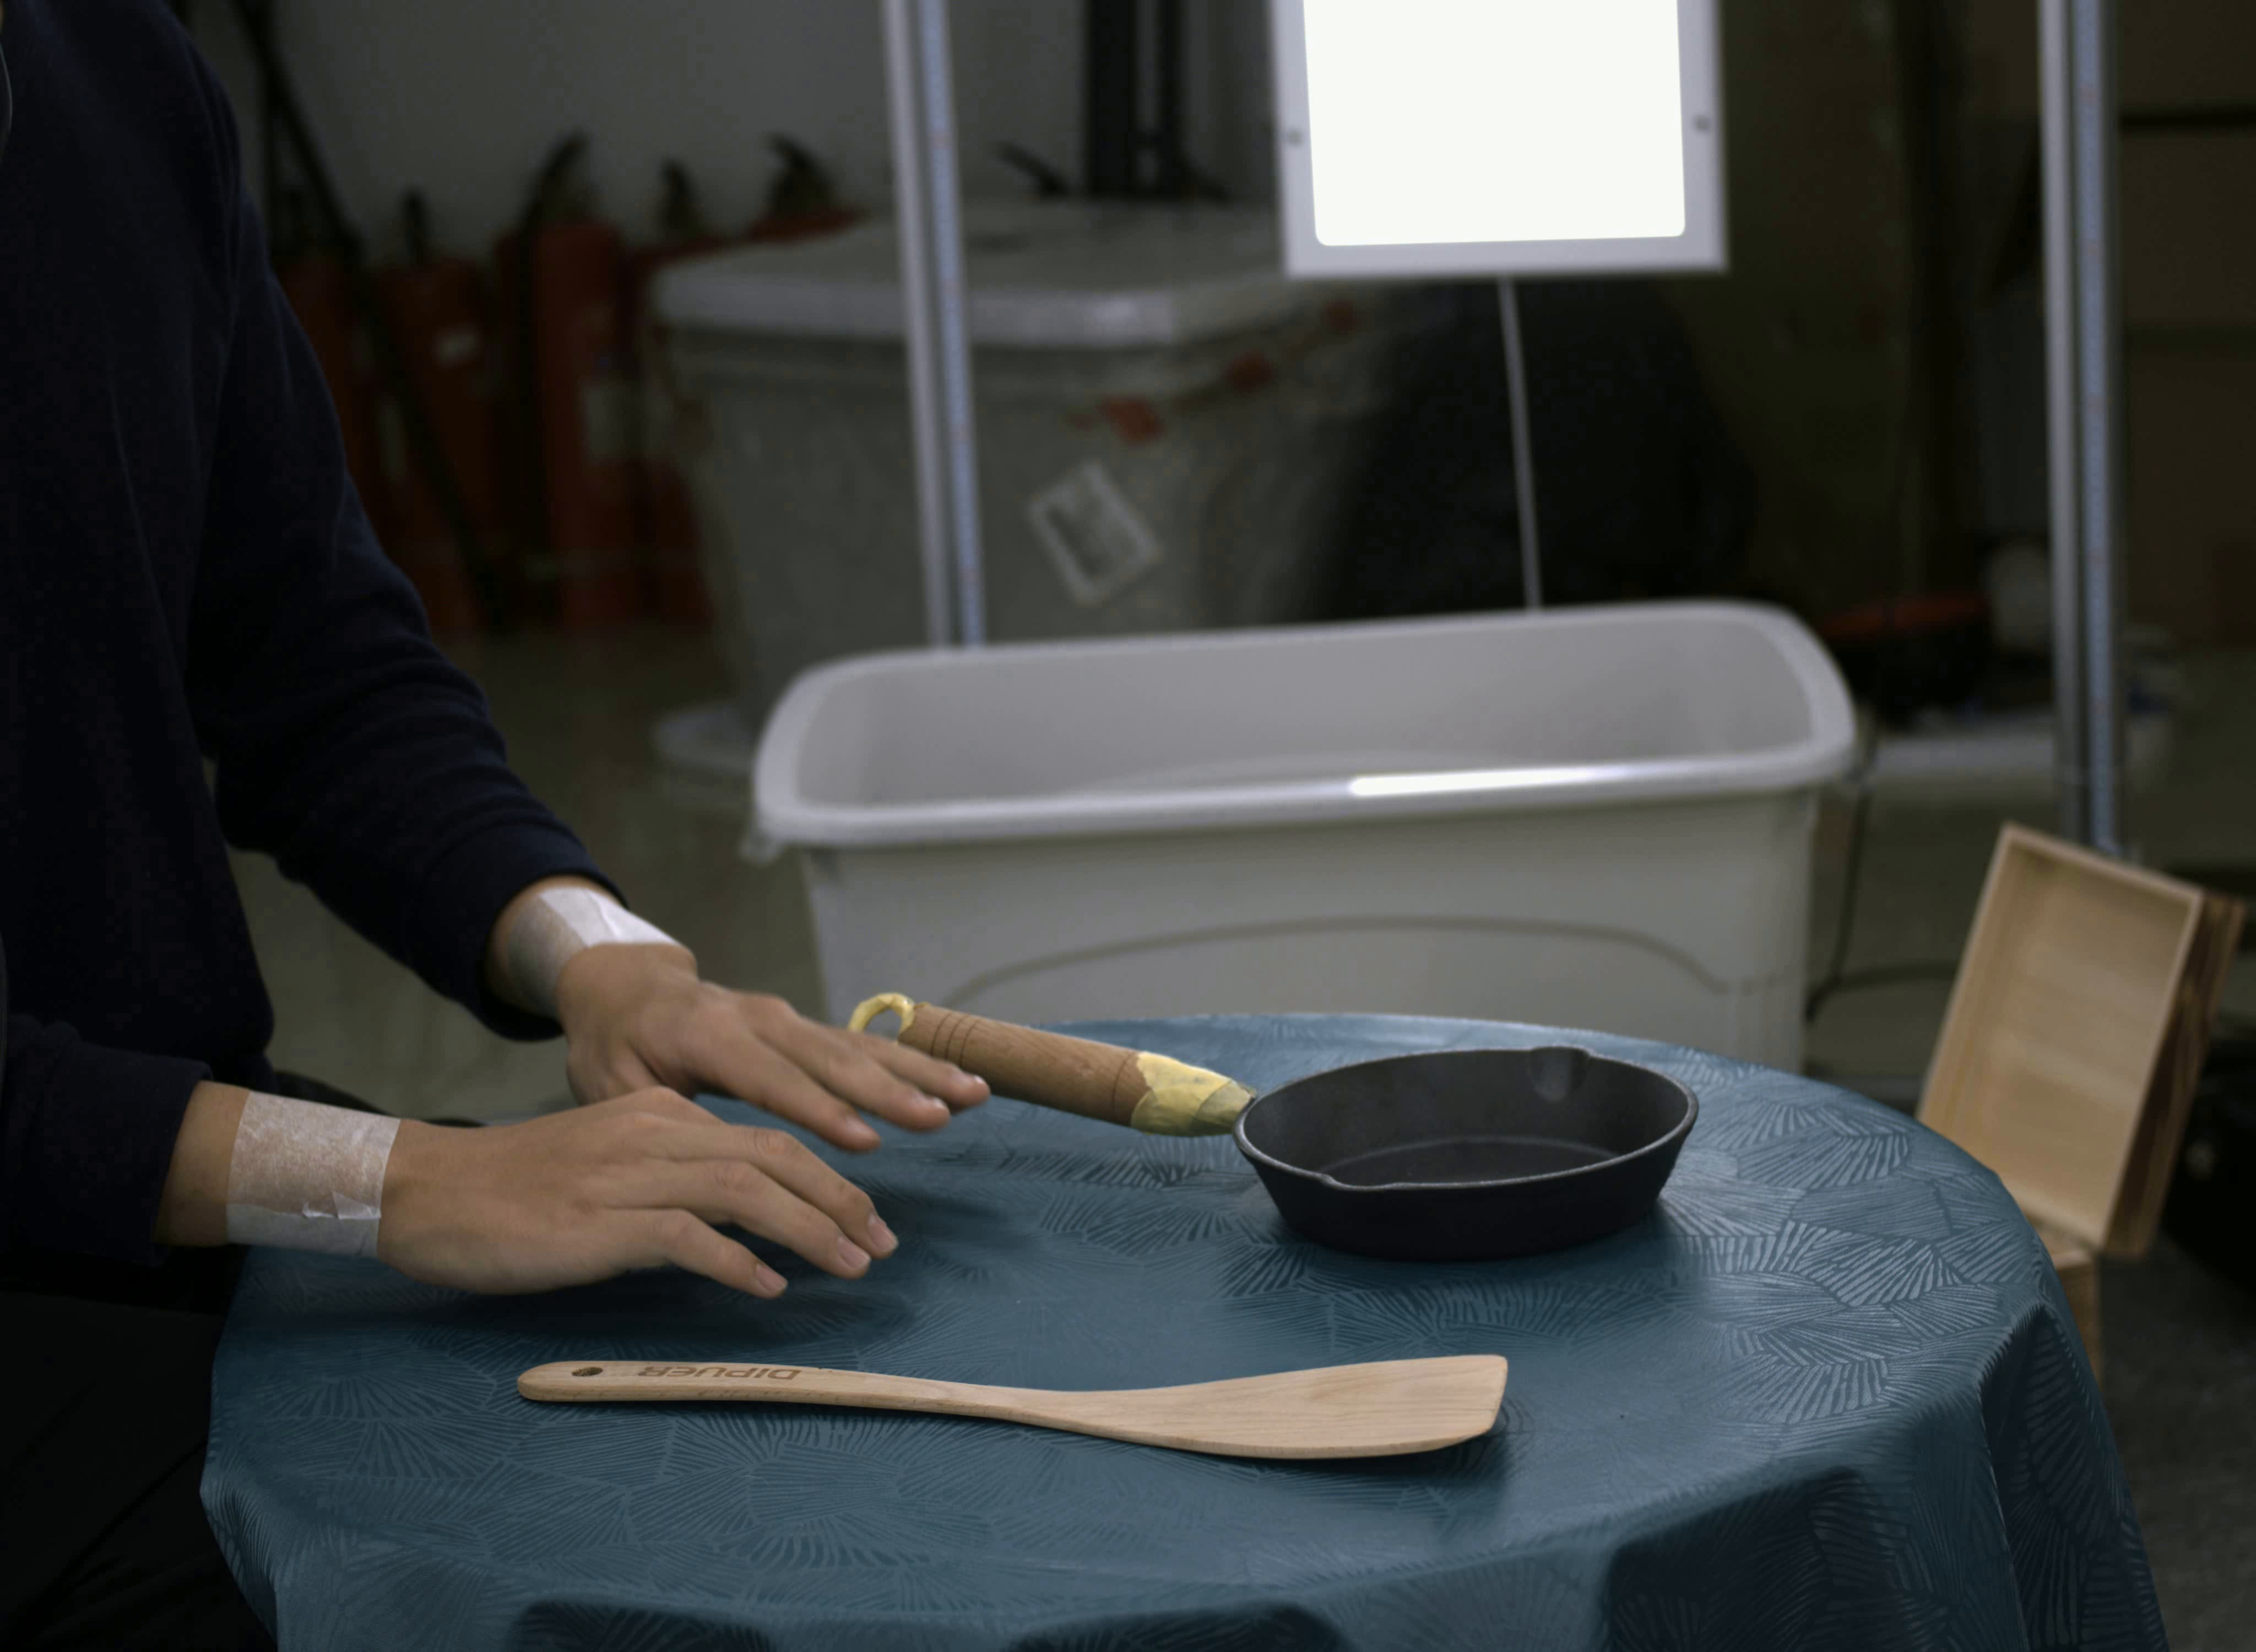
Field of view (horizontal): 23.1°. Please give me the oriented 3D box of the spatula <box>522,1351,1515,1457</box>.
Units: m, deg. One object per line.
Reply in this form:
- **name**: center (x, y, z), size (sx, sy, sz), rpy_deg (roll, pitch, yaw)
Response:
- **spatula**: center (-0.036, 0.173, 1.690), size (0.332, 0.016, 0.078), rpy_deg (0, 14, 21)

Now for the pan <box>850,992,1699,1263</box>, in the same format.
- **pan**: center (0.043, 0.097, 1.893), size (0.330, 0.050, 0.165), rpy_deg (6, 18, 33)
